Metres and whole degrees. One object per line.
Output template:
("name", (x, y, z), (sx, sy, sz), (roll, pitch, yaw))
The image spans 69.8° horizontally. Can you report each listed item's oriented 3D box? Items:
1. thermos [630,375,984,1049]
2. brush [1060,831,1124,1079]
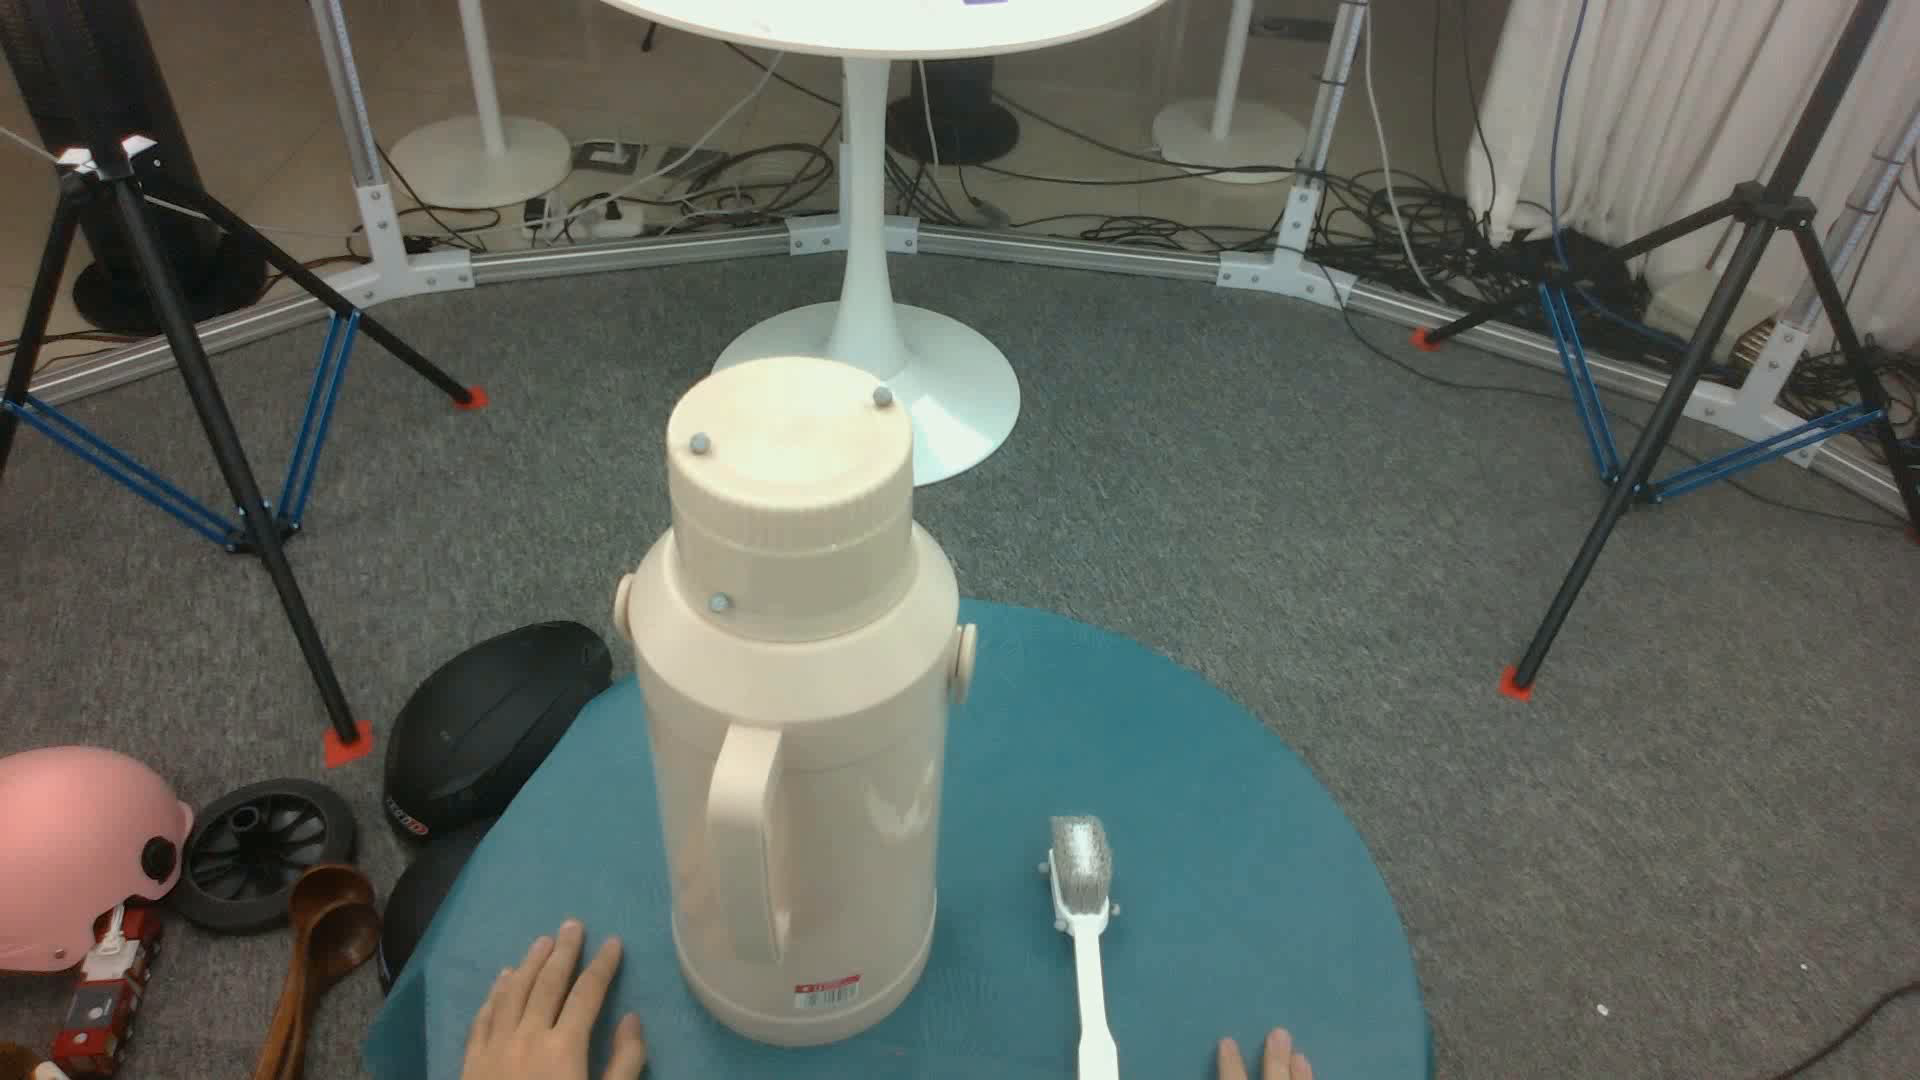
("thermos", (-0.084, 0.114, 0.725), (0.175, 0.404, 0.208), (8, 43, 2))
("brush", (0.082, 0.278, 0.815), (0.034, 0.050, 0.245), (6, 42, -4))
